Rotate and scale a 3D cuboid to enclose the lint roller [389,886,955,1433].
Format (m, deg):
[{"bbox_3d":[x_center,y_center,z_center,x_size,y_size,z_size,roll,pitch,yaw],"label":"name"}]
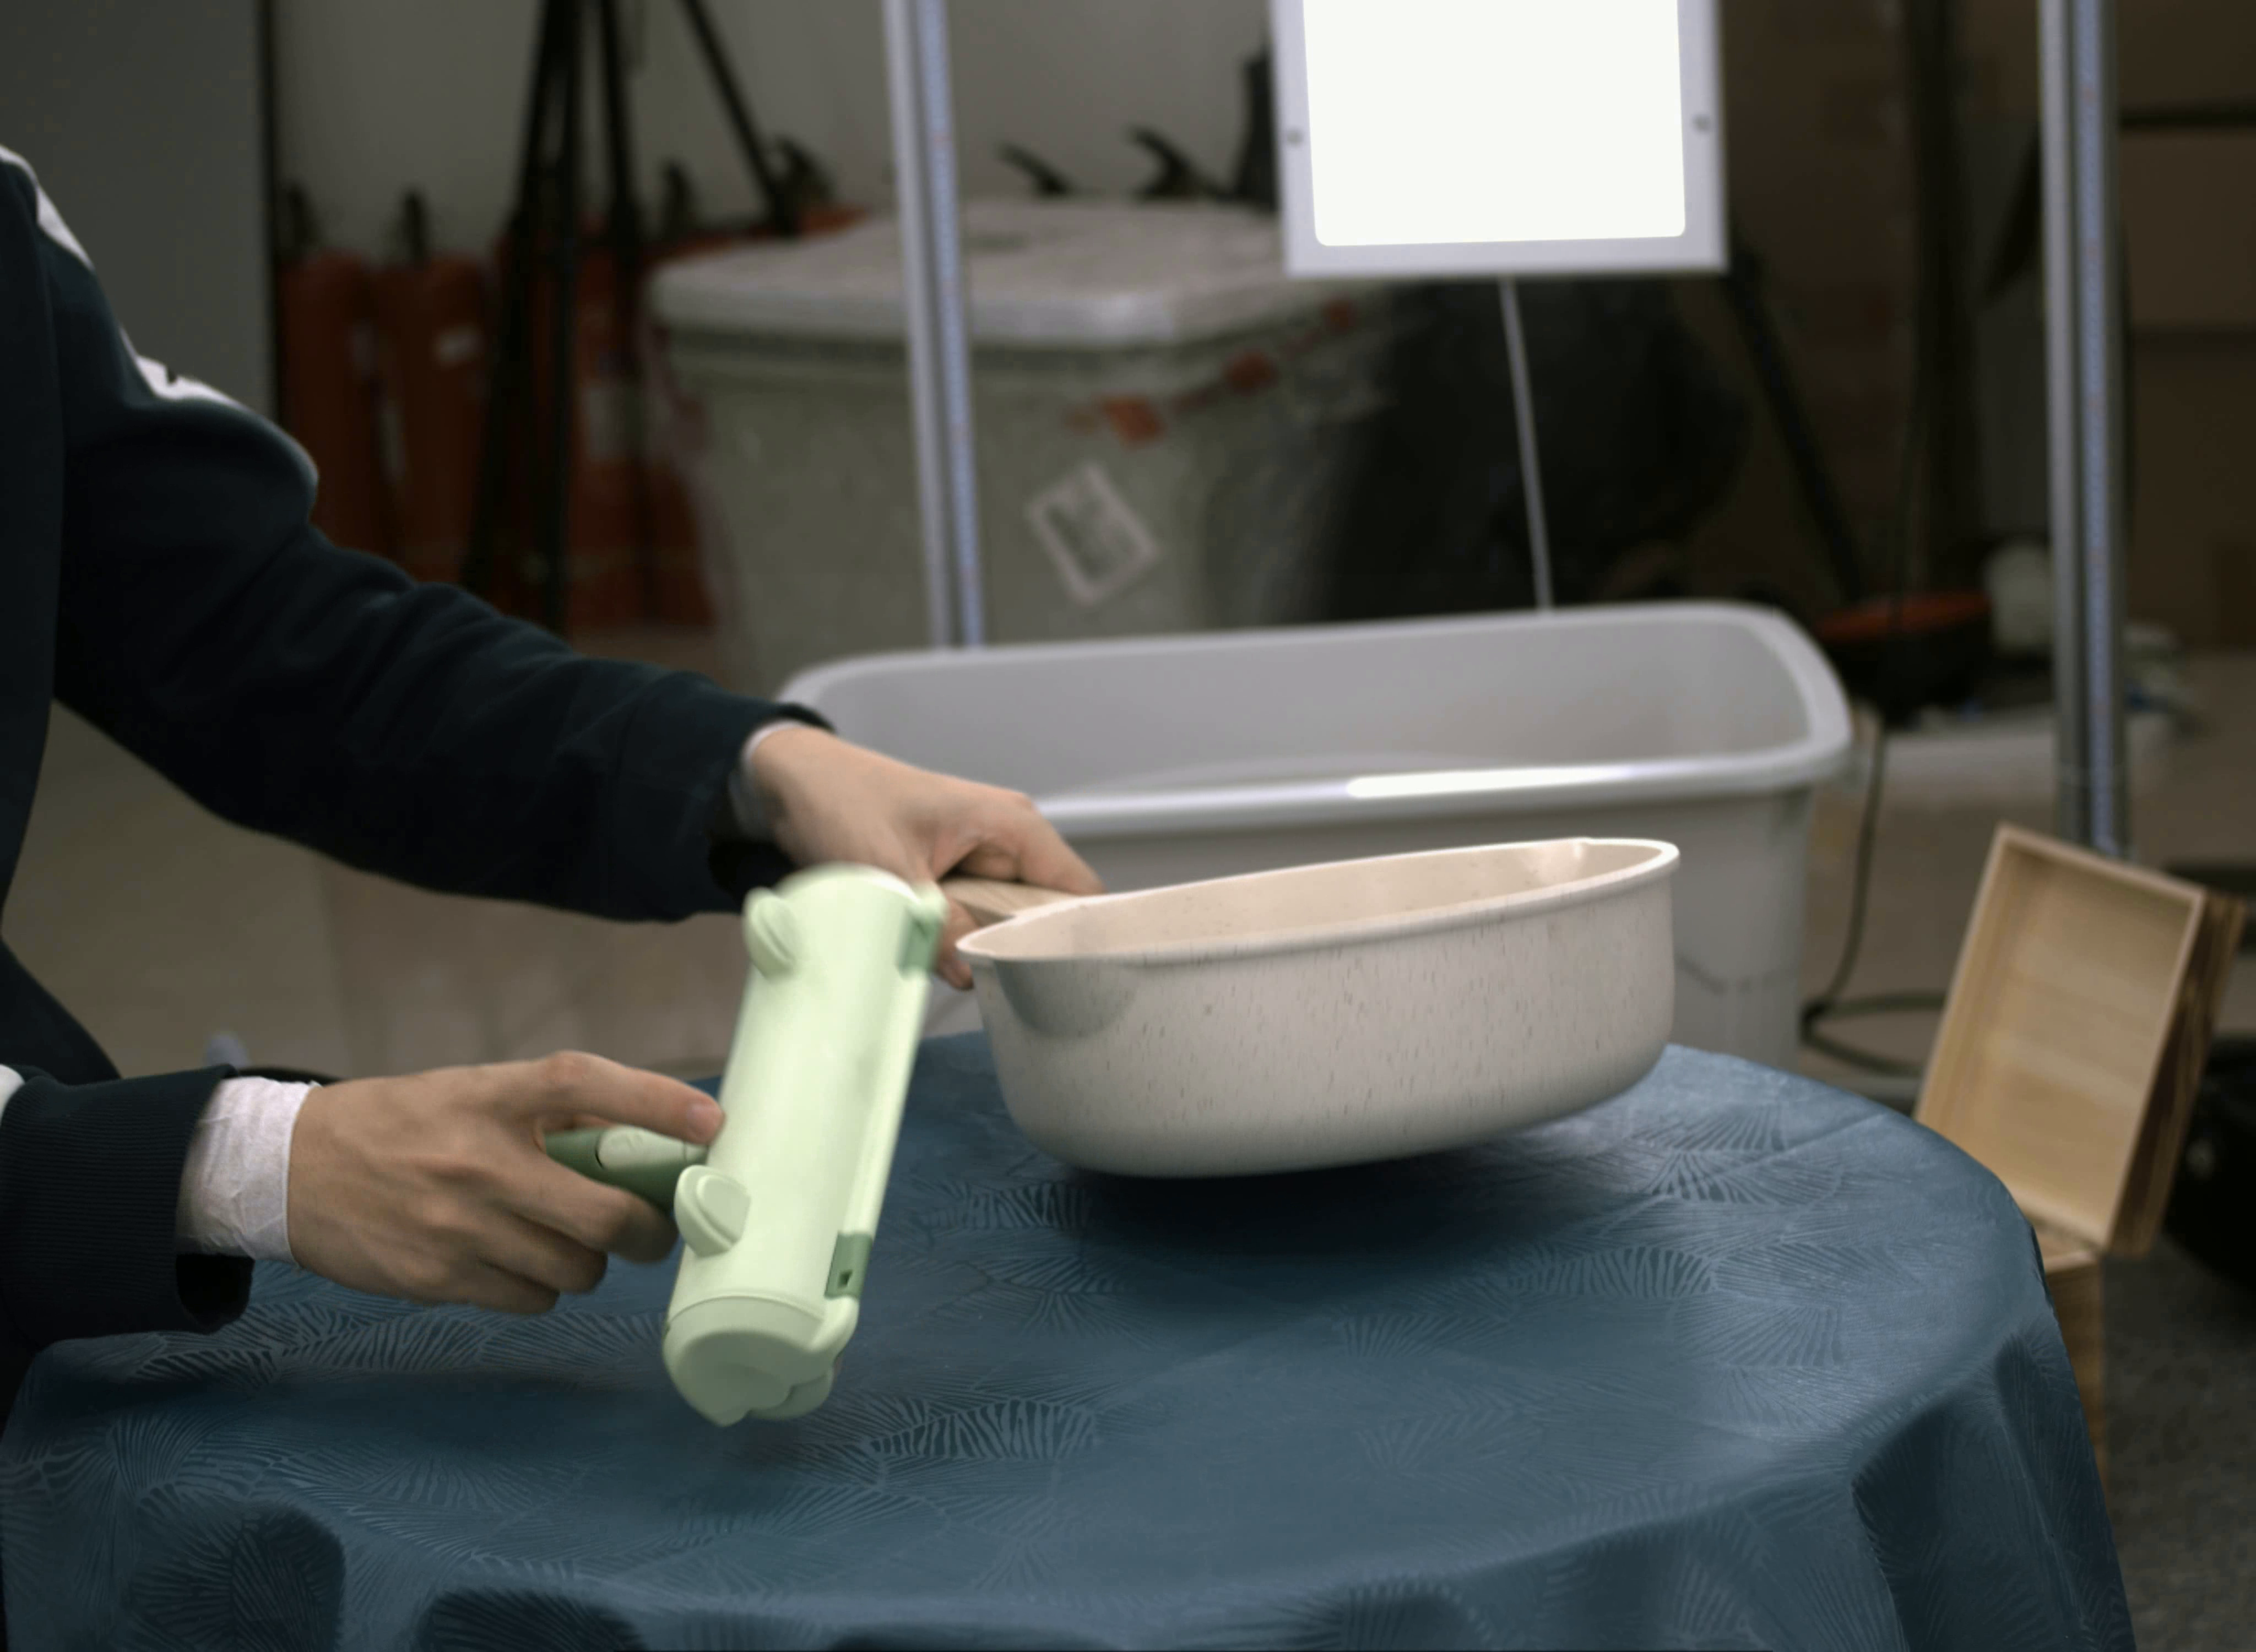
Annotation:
[{"bbox_3d":[-0.156,0.099,1.723,0.185,0.082,0.197,-5,41,17],"label":"lint roller"}]

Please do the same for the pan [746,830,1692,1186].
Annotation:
[{"bbox_3d":[0.013,0.059,1.956,0.256,0.102,0.445,-14,7,-40],"label":"pan"}]
